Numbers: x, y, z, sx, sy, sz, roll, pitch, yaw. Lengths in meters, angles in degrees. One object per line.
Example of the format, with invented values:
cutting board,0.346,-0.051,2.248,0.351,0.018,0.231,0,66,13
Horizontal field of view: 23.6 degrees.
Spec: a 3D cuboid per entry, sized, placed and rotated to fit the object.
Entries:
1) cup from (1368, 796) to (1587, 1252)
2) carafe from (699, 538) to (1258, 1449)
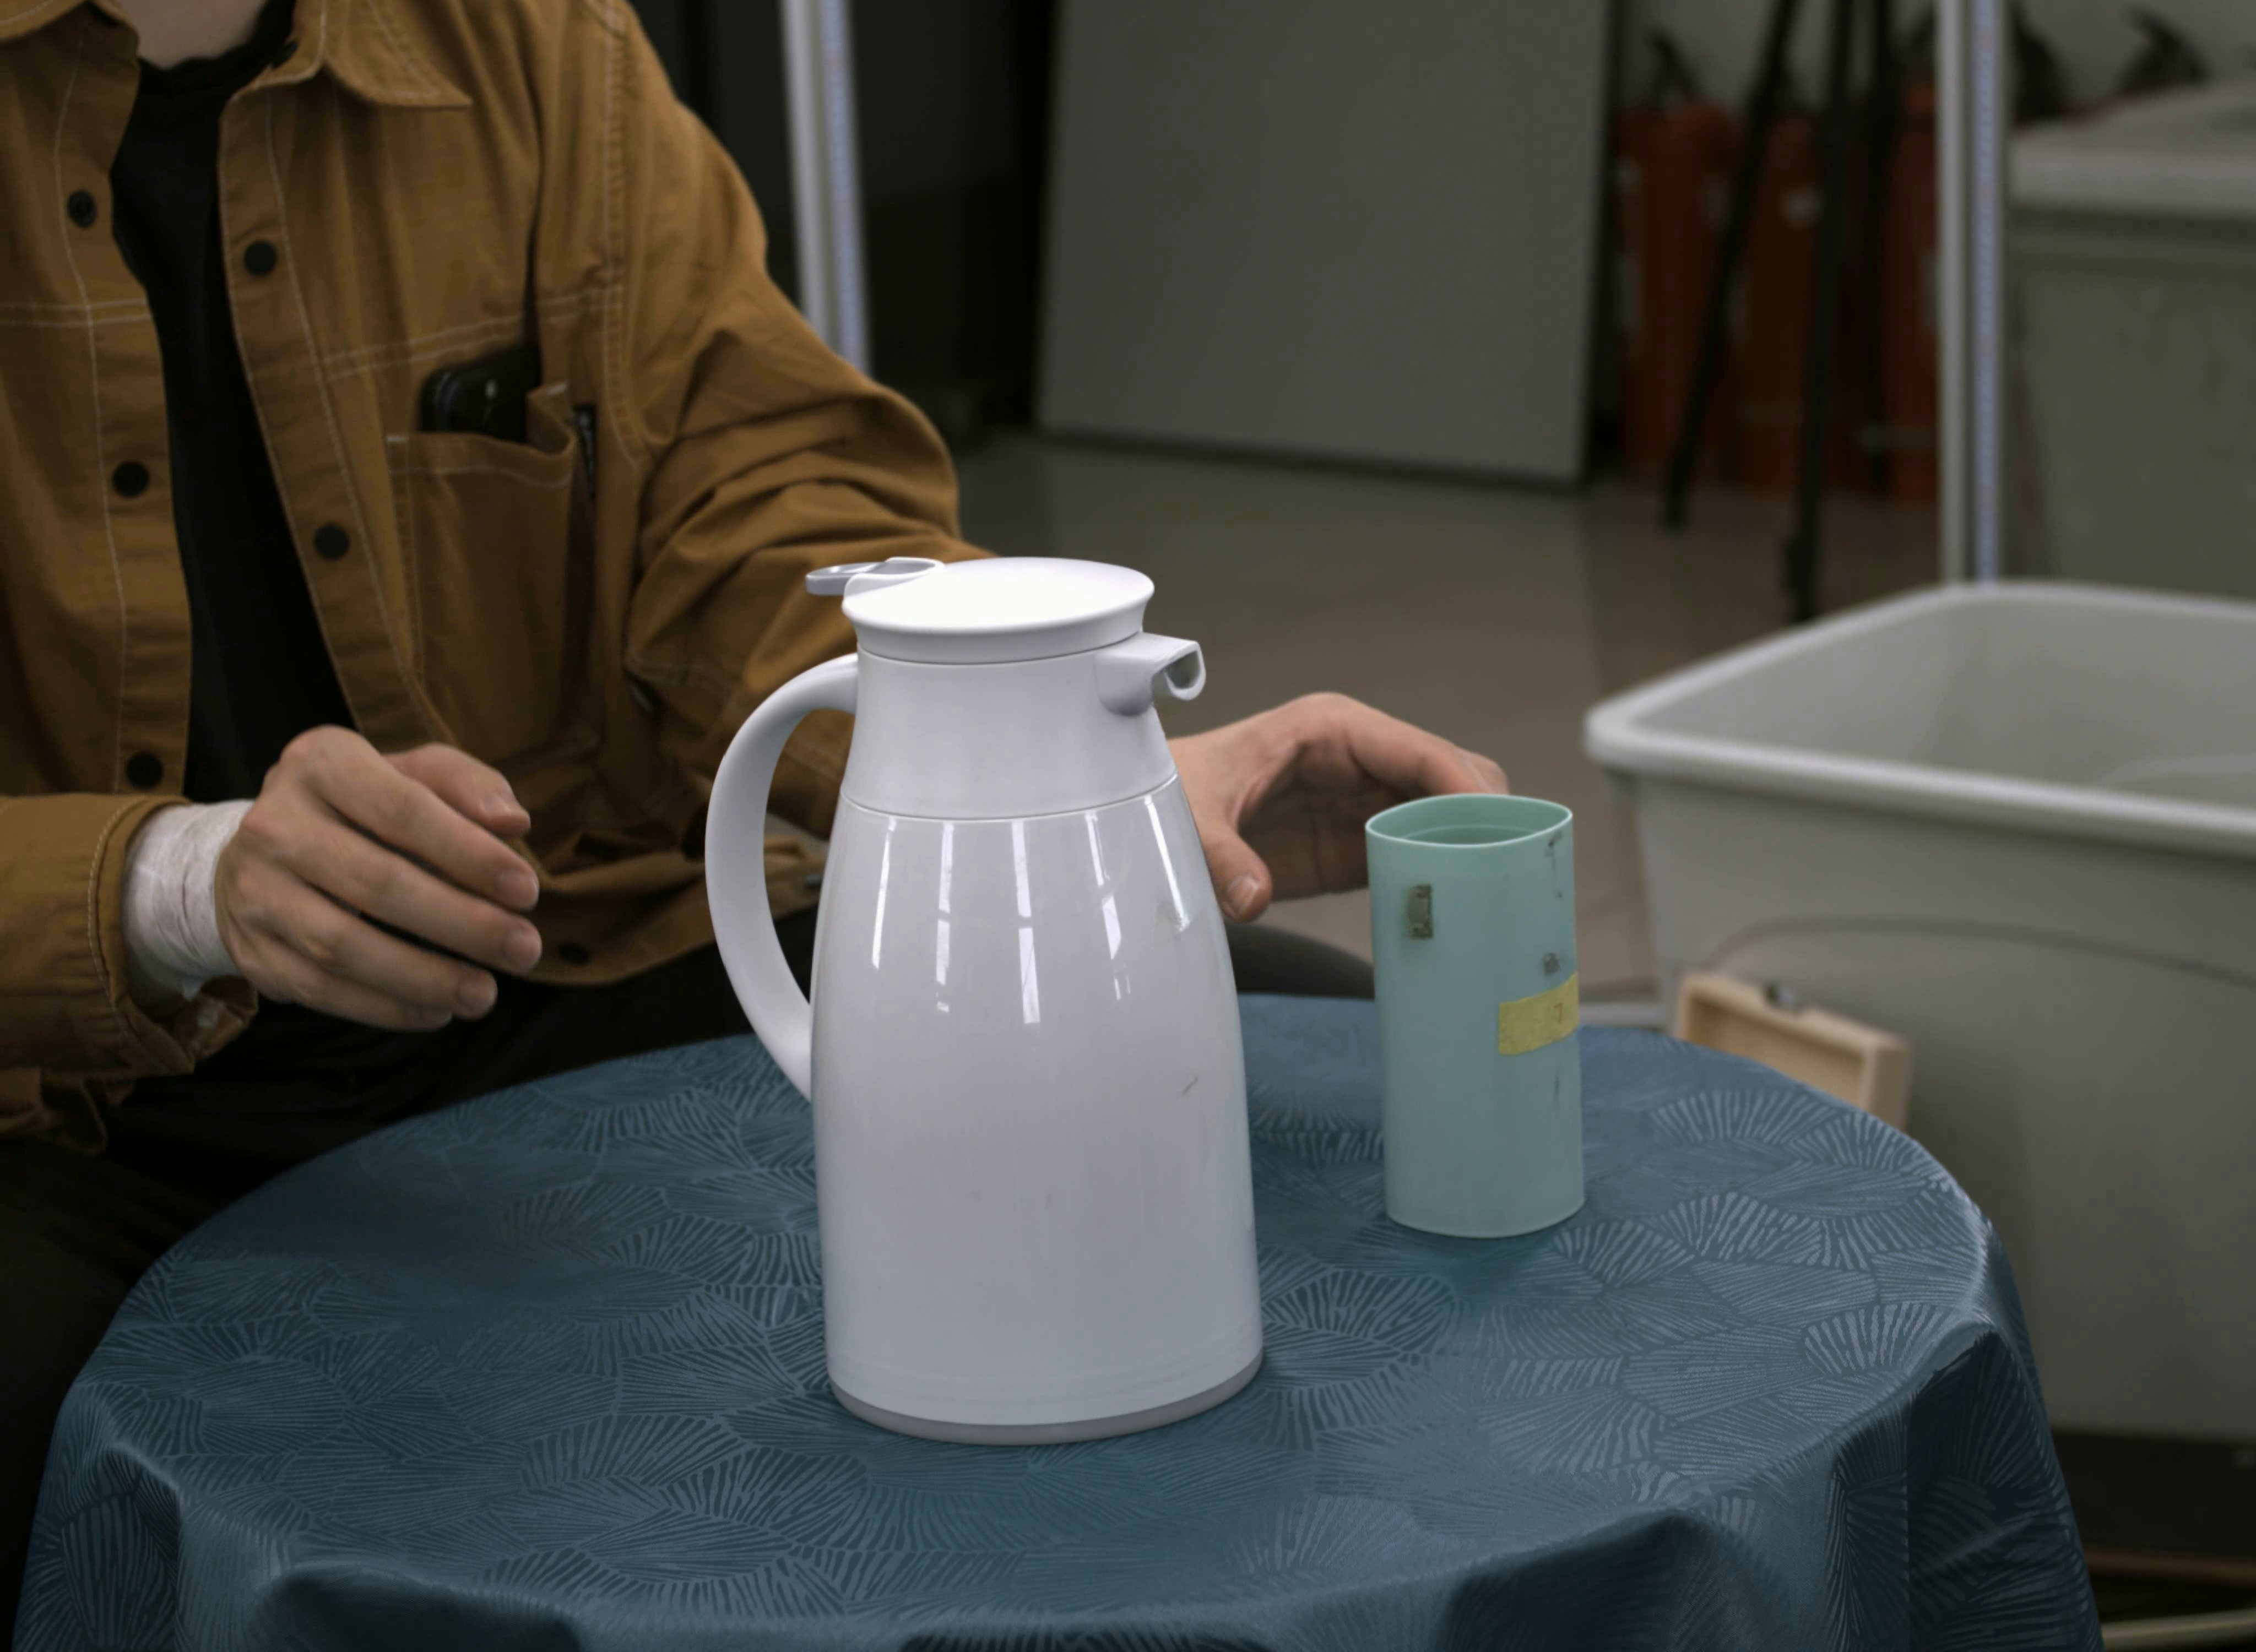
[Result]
cup,0.111,0.062,1.718,0.066,0.134,0.067,-4,13,0
carafe,-0.050,0.041,1.592,0.168,0.251,0.130,3,15,29
